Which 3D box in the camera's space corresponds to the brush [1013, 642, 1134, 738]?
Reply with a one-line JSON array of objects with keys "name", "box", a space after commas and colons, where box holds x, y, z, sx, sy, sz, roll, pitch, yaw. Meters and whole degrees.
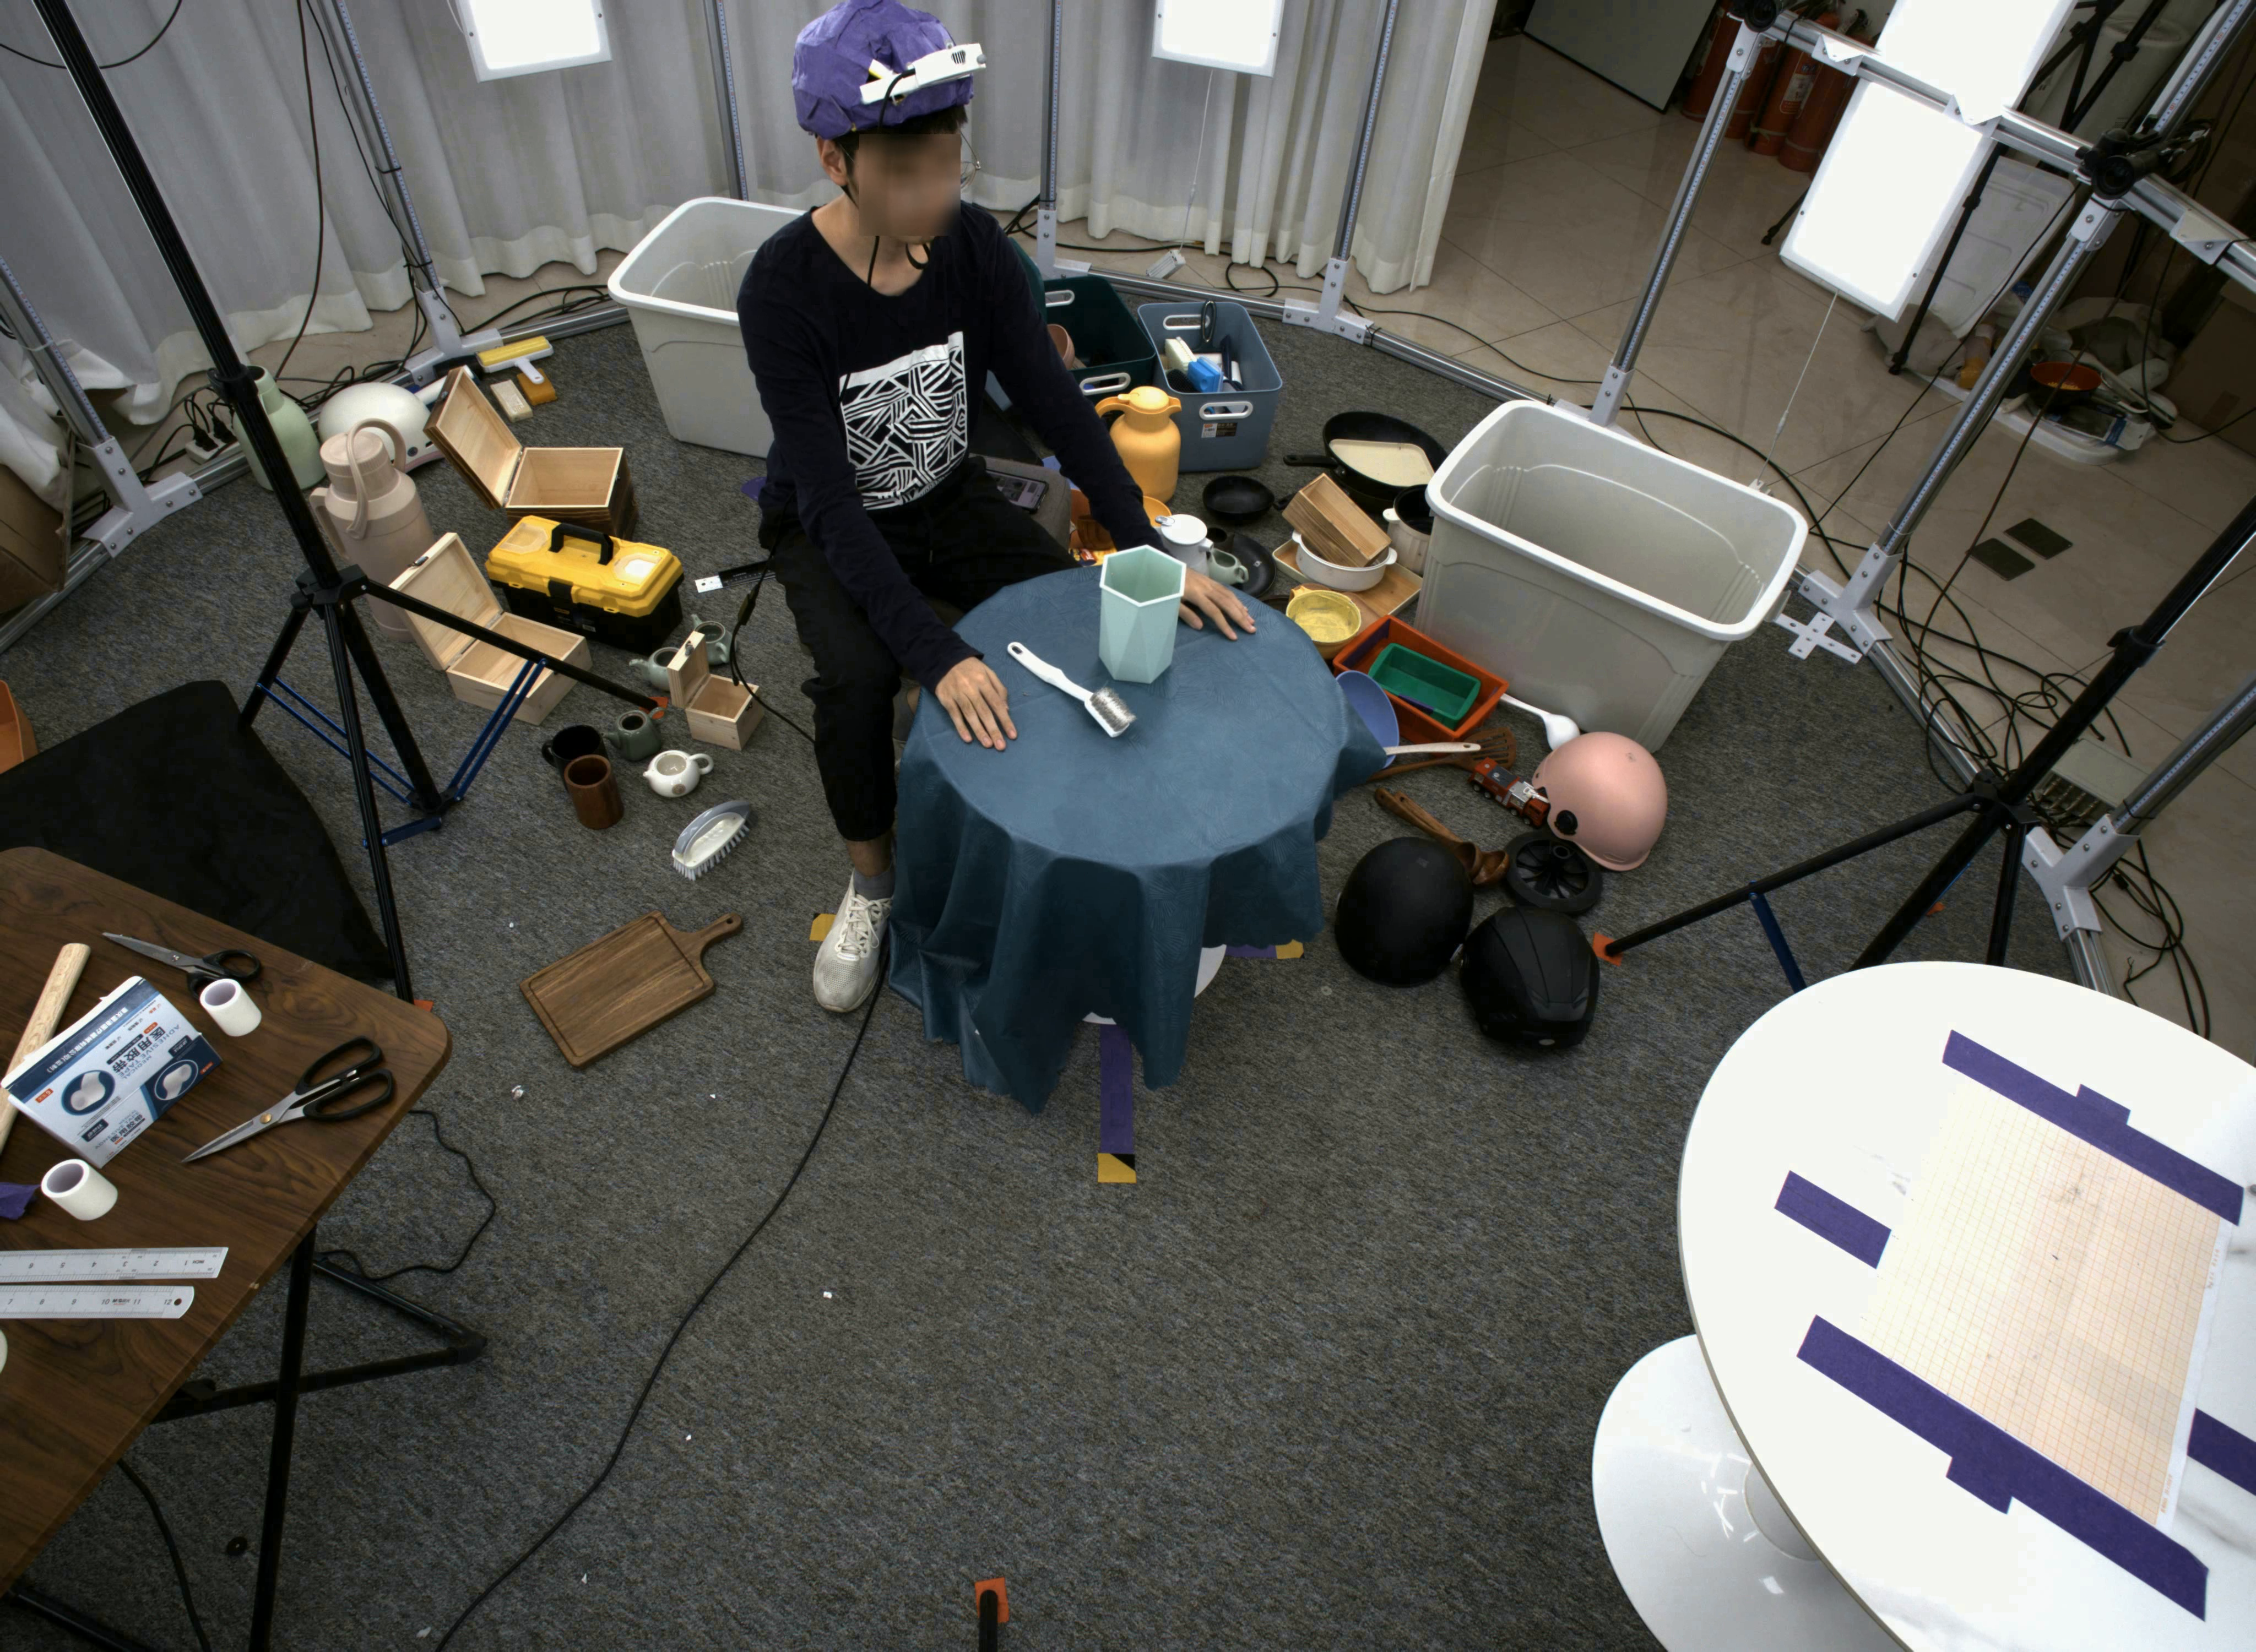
[{"name": "brush", "box": [-0.082, -0.207, 1.811, 0.034, 0.049, 0.248, -32, 57, -27]}]

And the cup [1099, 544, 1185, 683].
[{"name": "cup", "box": [0.017, -0.295, 1.820, 0.115, 0.159, 0.134, 4, 48, 1]}]
